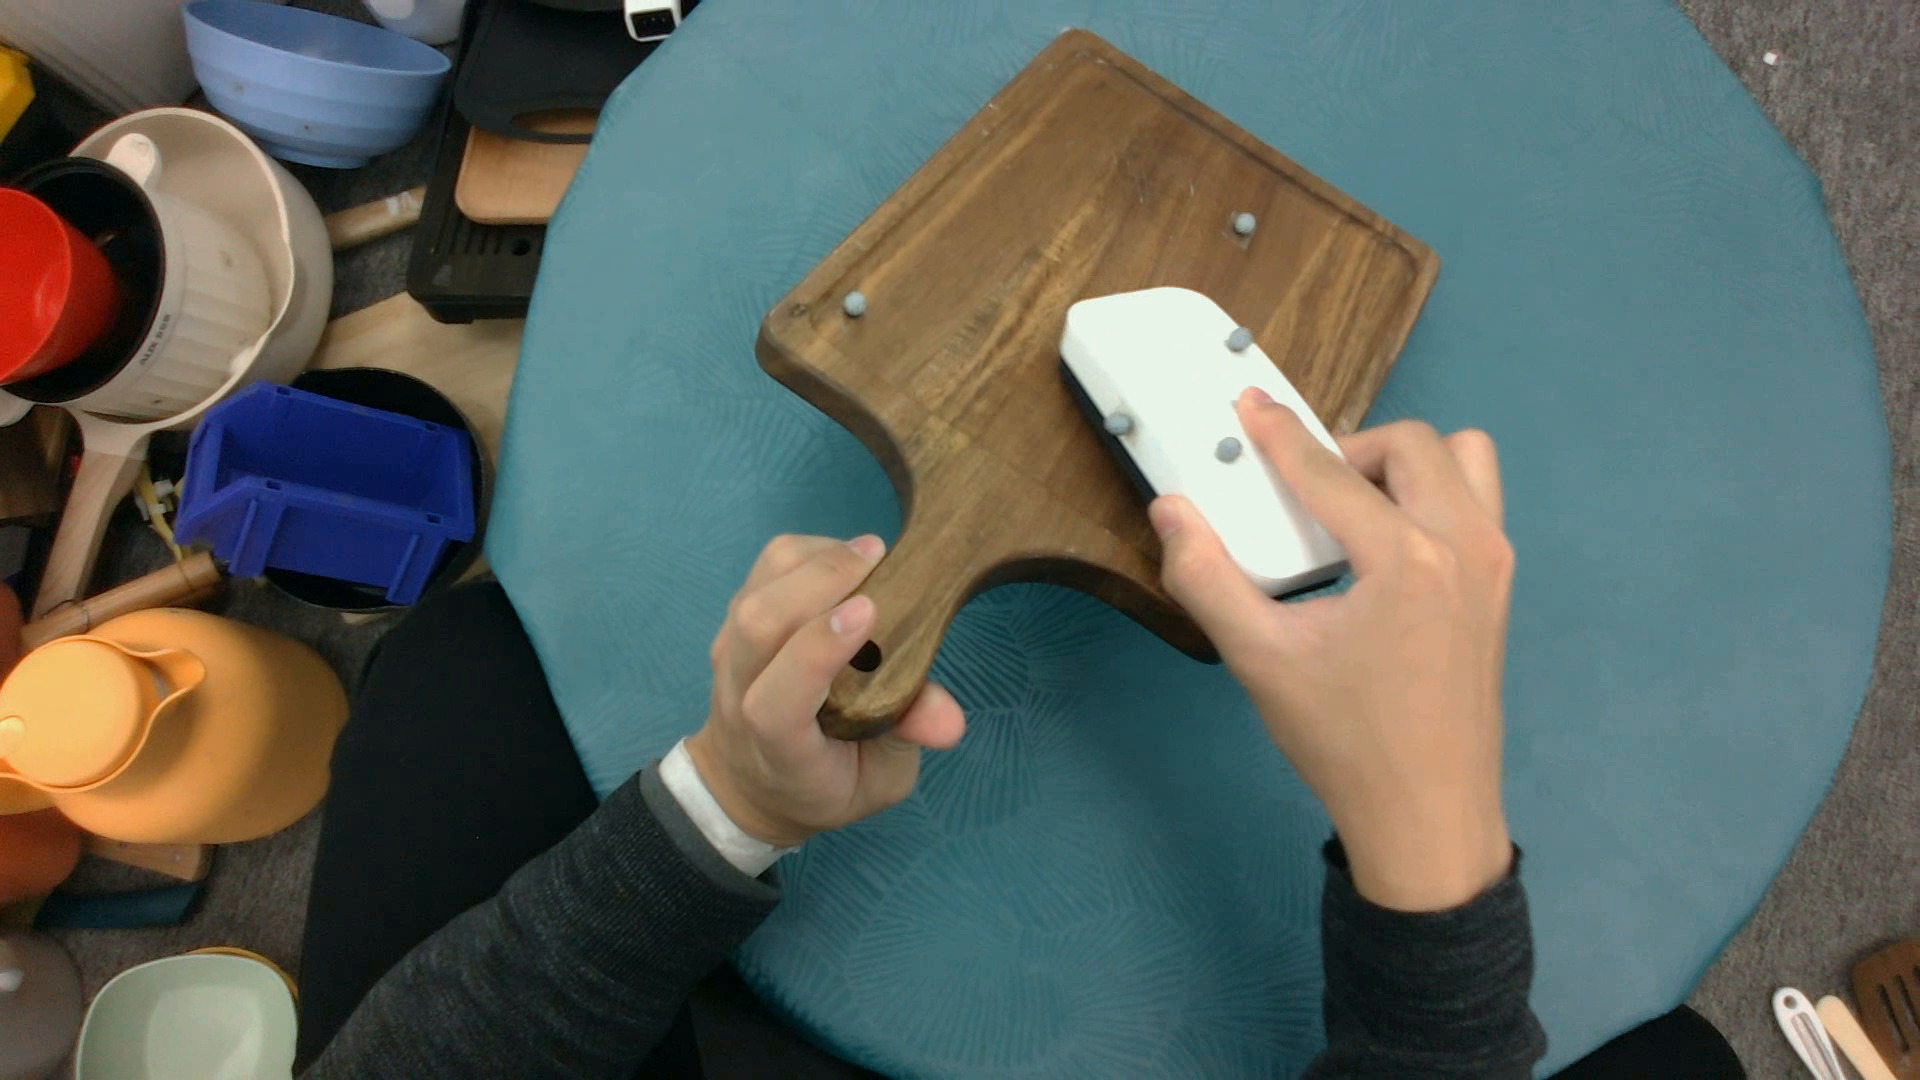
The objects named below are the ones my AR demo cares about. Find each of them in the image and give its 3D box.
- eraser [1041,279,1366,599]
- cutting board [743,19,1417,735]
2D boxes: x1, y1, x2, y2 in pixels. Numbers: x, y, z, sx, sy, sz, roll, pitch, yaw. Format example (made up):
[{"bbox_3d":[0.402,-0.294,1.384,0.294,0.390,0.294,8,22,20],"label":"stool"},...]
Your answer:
[{"bbox_3d":[0.078,-0.040,0.469,0.063,0.034,0.131,-14,55,-27],"label":"eraser"},{"bbox_3d":[0.040,-0.065,0.506,0.201,0.023,0.354,33,52,3],"label":"cutting board"}]
